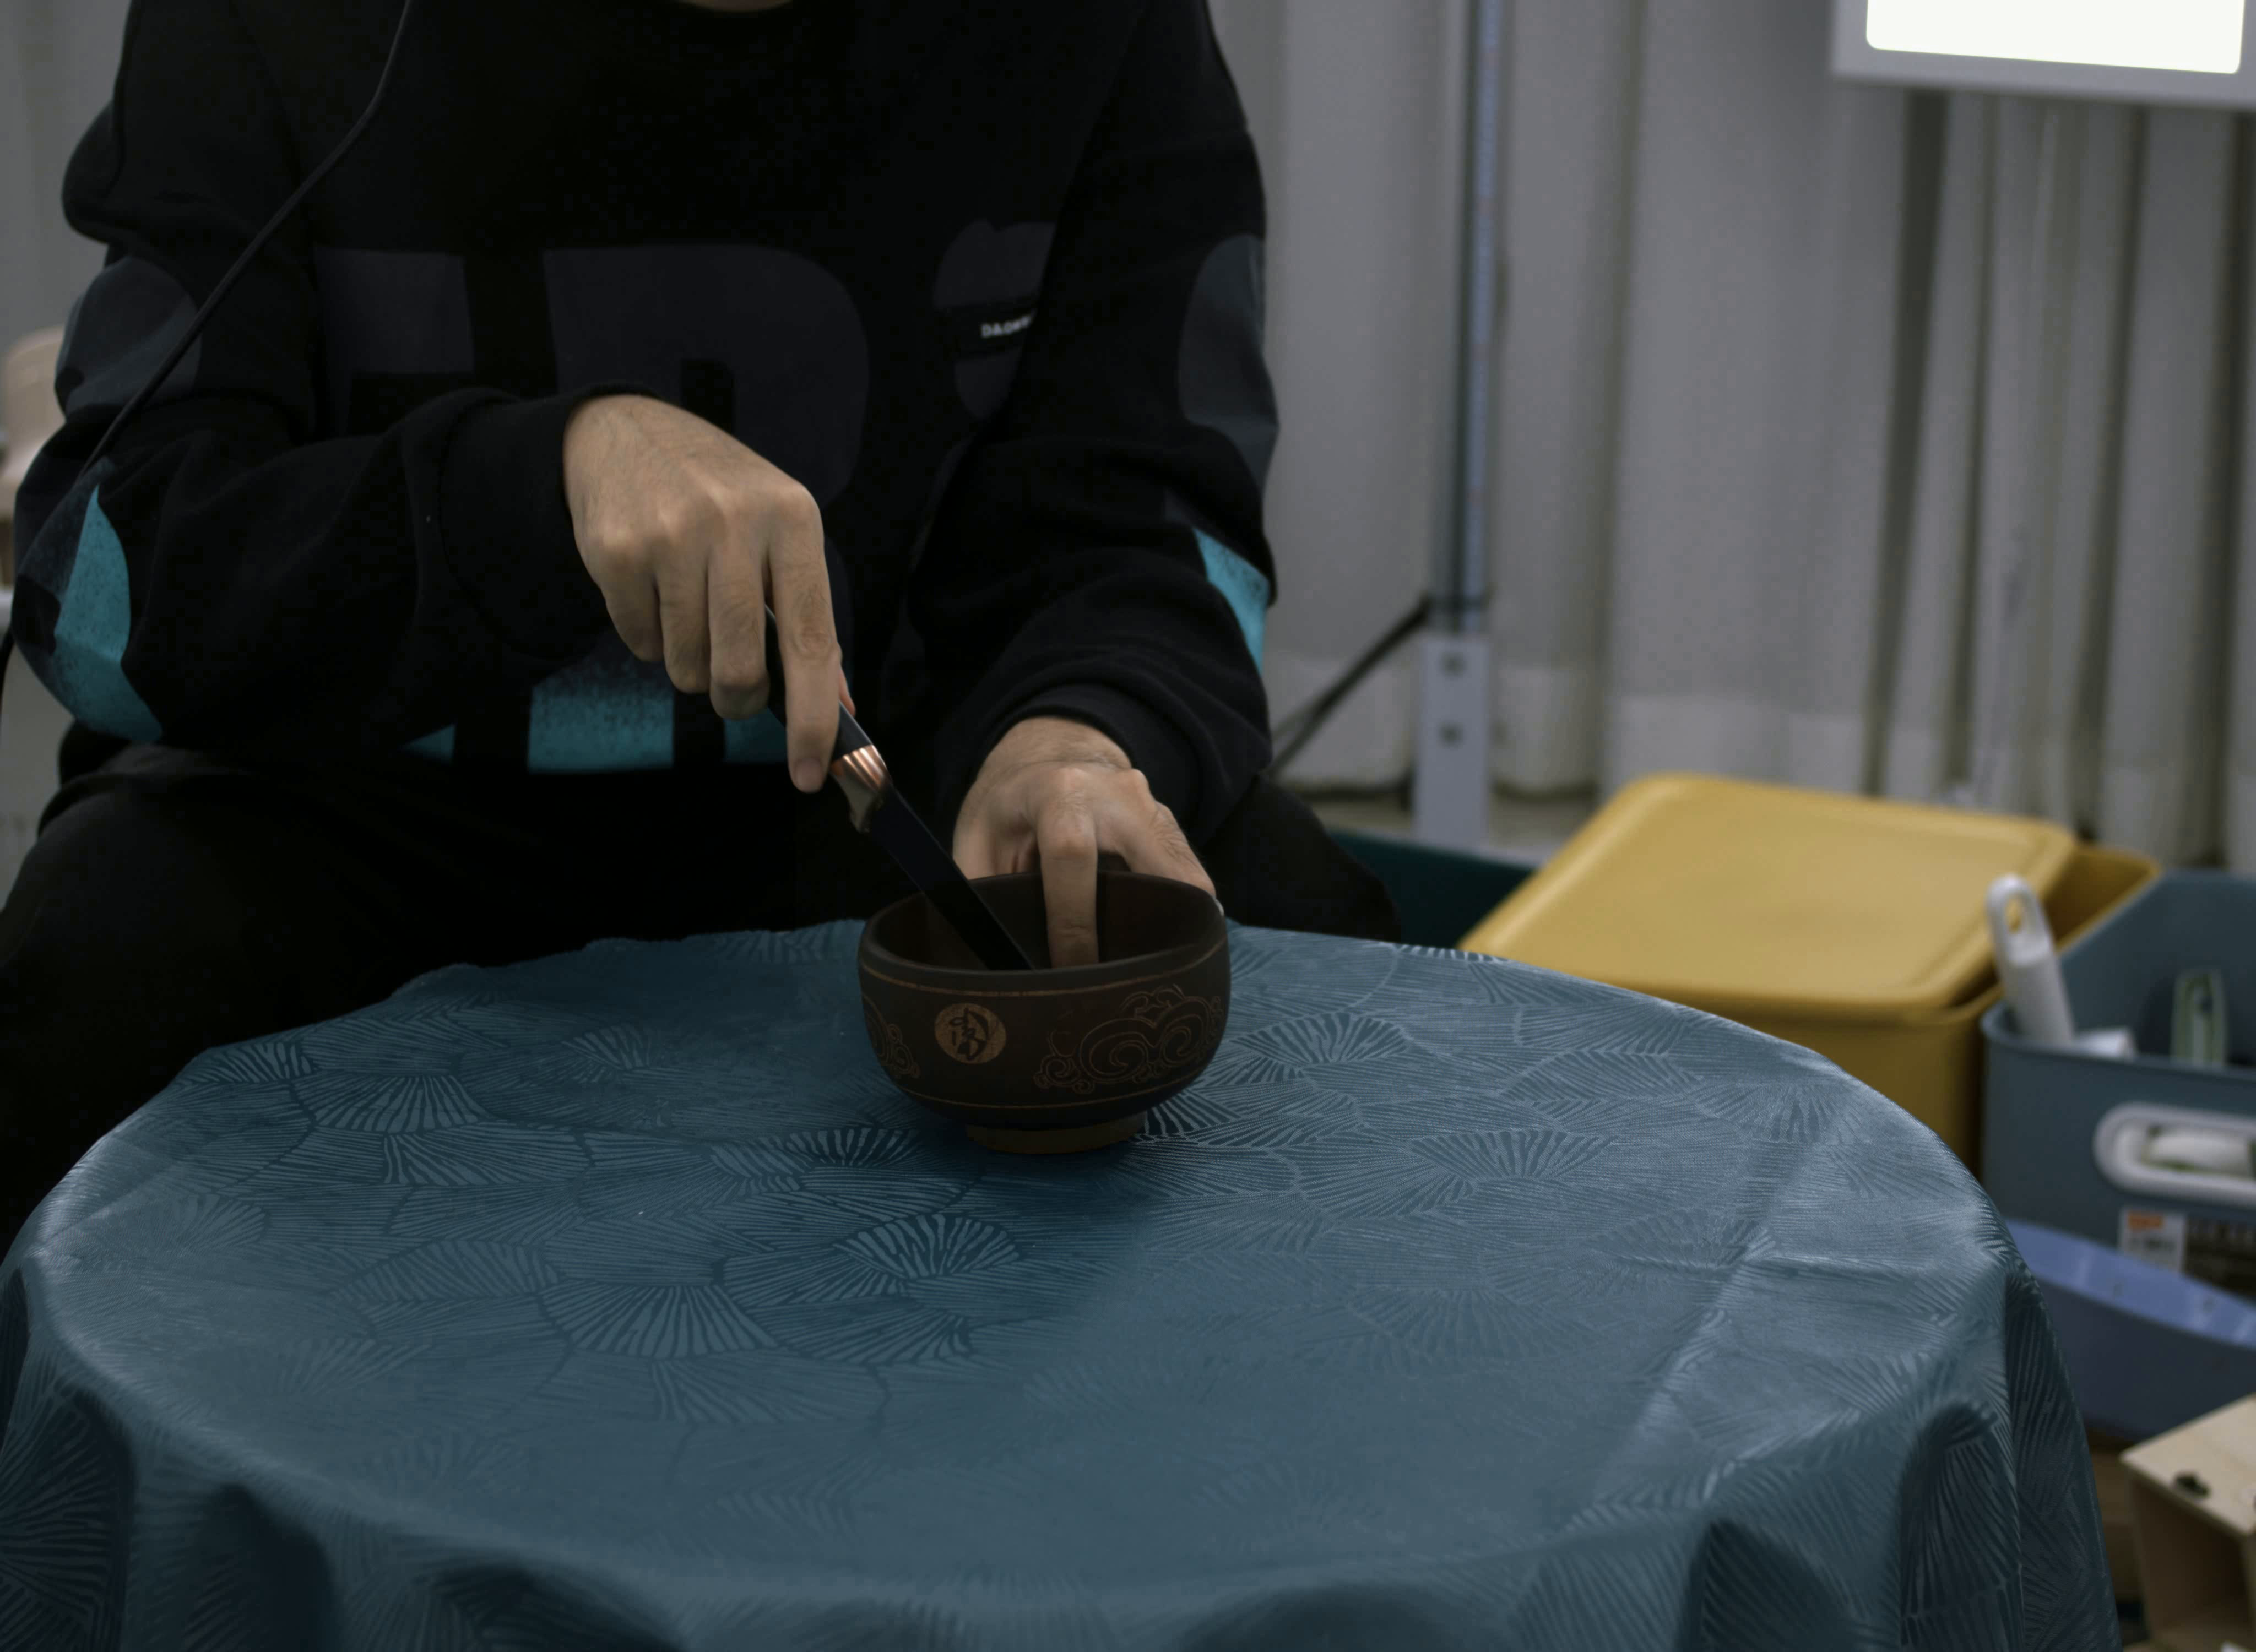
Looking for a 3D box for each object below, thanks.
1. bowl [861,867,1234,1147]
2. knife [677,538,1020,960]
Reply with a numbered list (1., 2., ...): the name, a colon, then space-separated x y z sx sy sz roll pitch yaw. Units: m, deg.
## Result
1. bowl: -0.025 0.060 1.663 0.117 0.070 0.117 -1 14 1
2. knife: -0.077 -0.004 1.689 0.017 0.026 0.224 -22 69 -50
